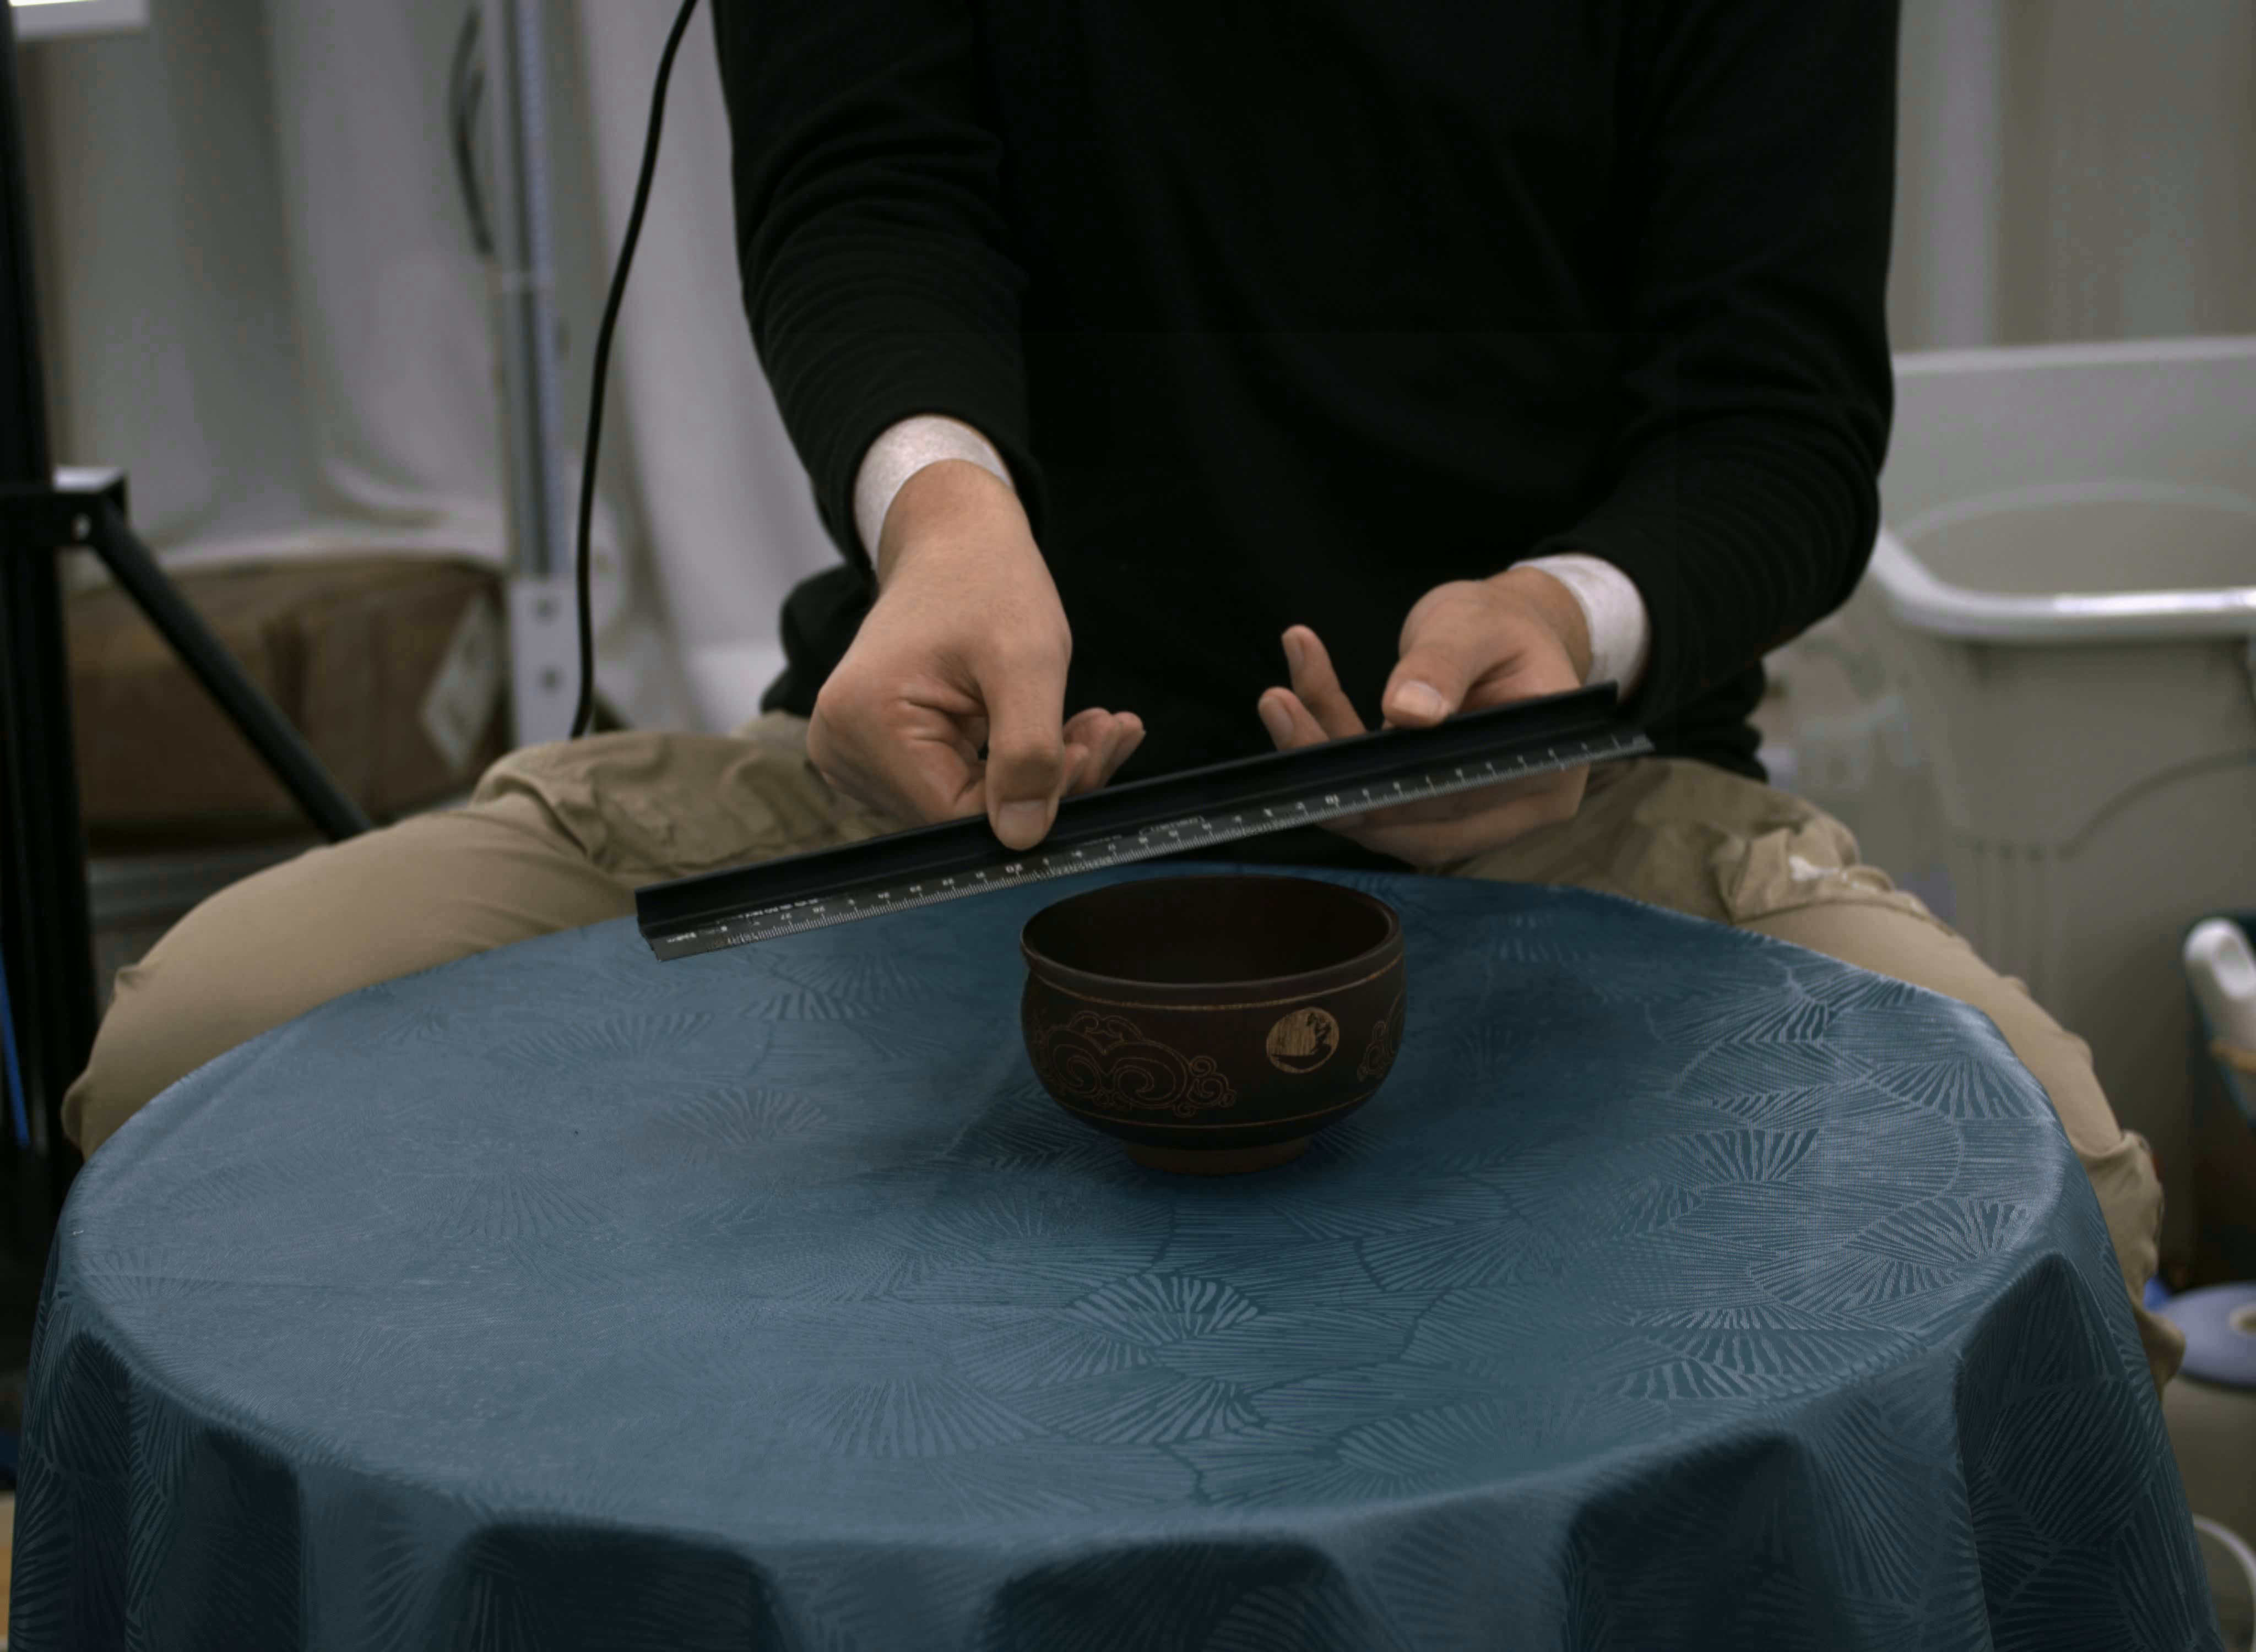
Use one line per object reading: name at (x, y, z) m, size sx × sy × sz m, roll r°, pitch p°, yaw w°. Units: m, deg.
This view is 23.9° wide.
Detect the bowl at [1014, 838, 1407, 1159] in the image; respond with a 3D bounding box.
bowl at (0.025, 0.057, 1.586) m, size 0.117 × 0.070 × 0.119 m, roll -2°, pitch 21°, yaw 0°

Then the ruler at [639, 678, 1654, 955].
ruler at (0.006, -0.003, 1.598) m, size 0.309 × 0.017 × 0.040 m, roll -12°, pitch 16°, yaw -9°
